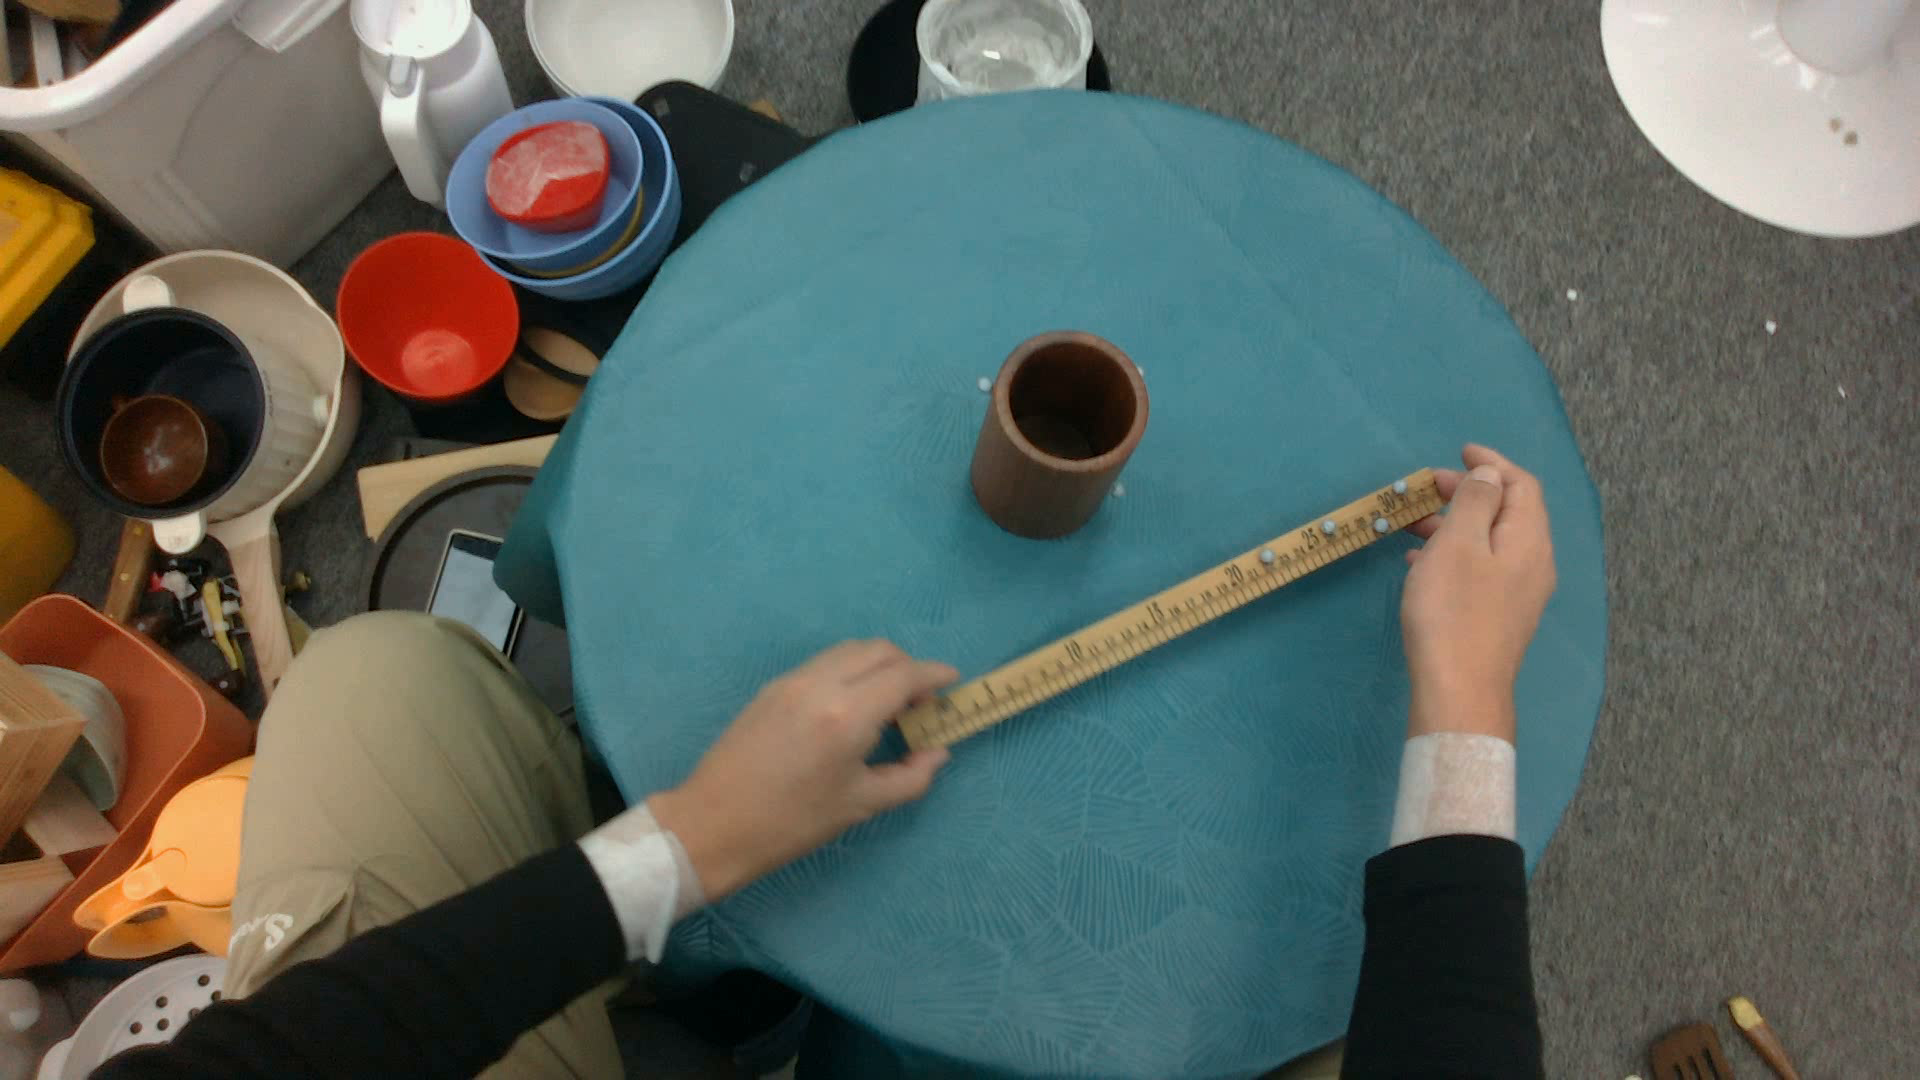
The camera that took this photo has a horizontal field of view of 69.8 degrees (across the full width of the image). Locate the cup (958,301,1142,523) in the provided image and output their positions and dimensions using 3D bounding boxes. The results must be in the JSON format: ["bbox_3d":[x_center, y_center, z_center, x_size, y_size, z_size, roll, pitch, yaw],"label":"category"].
[{"bbox_3d":[0.045,-0.065,0.734,0.088,0.118,0.088,2,72,-5],"label":"cup"}]

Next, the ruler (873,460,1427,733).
[{"bbox_3d":[0.110,0.026,0.740,0.332,0.022,0.027,-22,79,-13],"label":"ruler"}]
